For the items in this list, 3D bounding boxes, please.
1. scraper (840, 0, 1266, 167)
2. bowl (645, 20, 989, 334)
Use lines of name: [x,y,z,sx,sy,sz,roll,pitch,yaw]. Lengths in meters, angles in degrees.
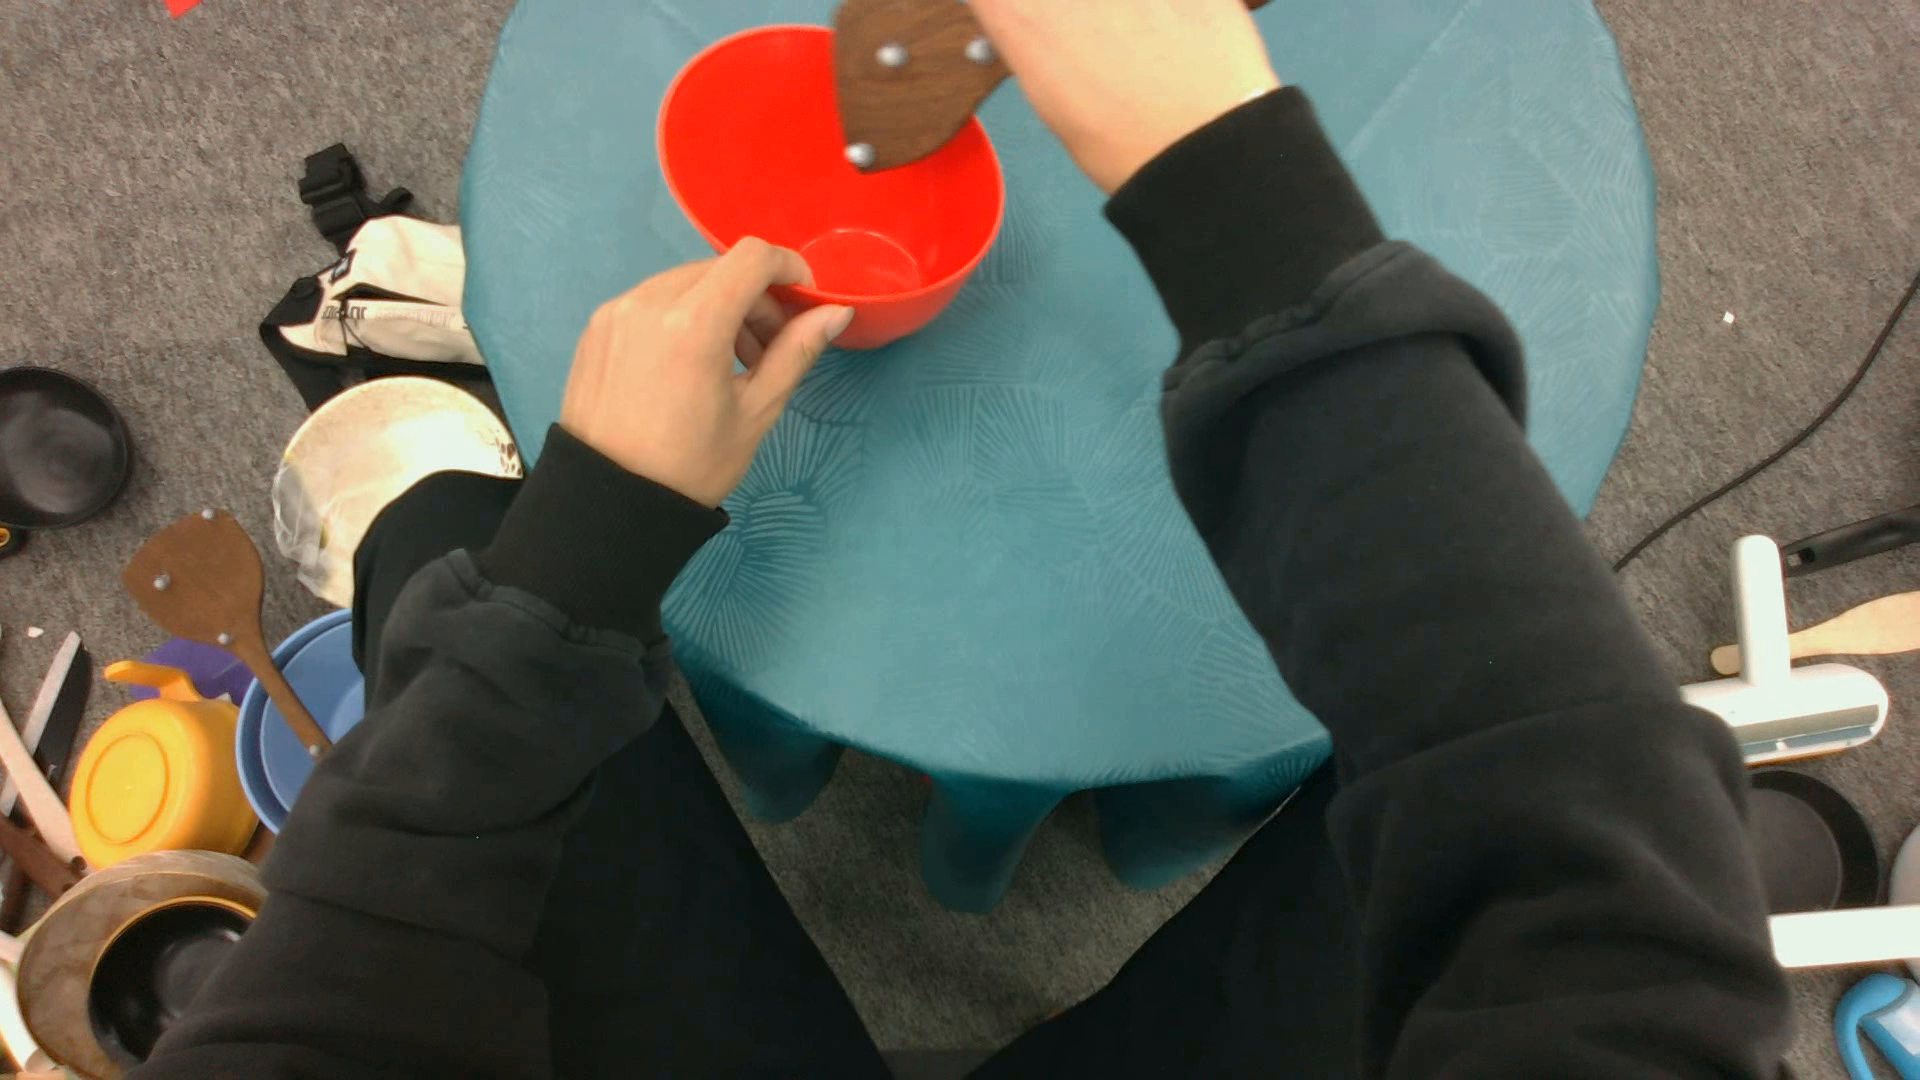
scraper: [0.031,-0.200,0.540,0.211,0.011,0.076,0,93,40]
bowl: [-0.064,-0.151,0.628,0.148,0.104,0.148,3,62,-6]
